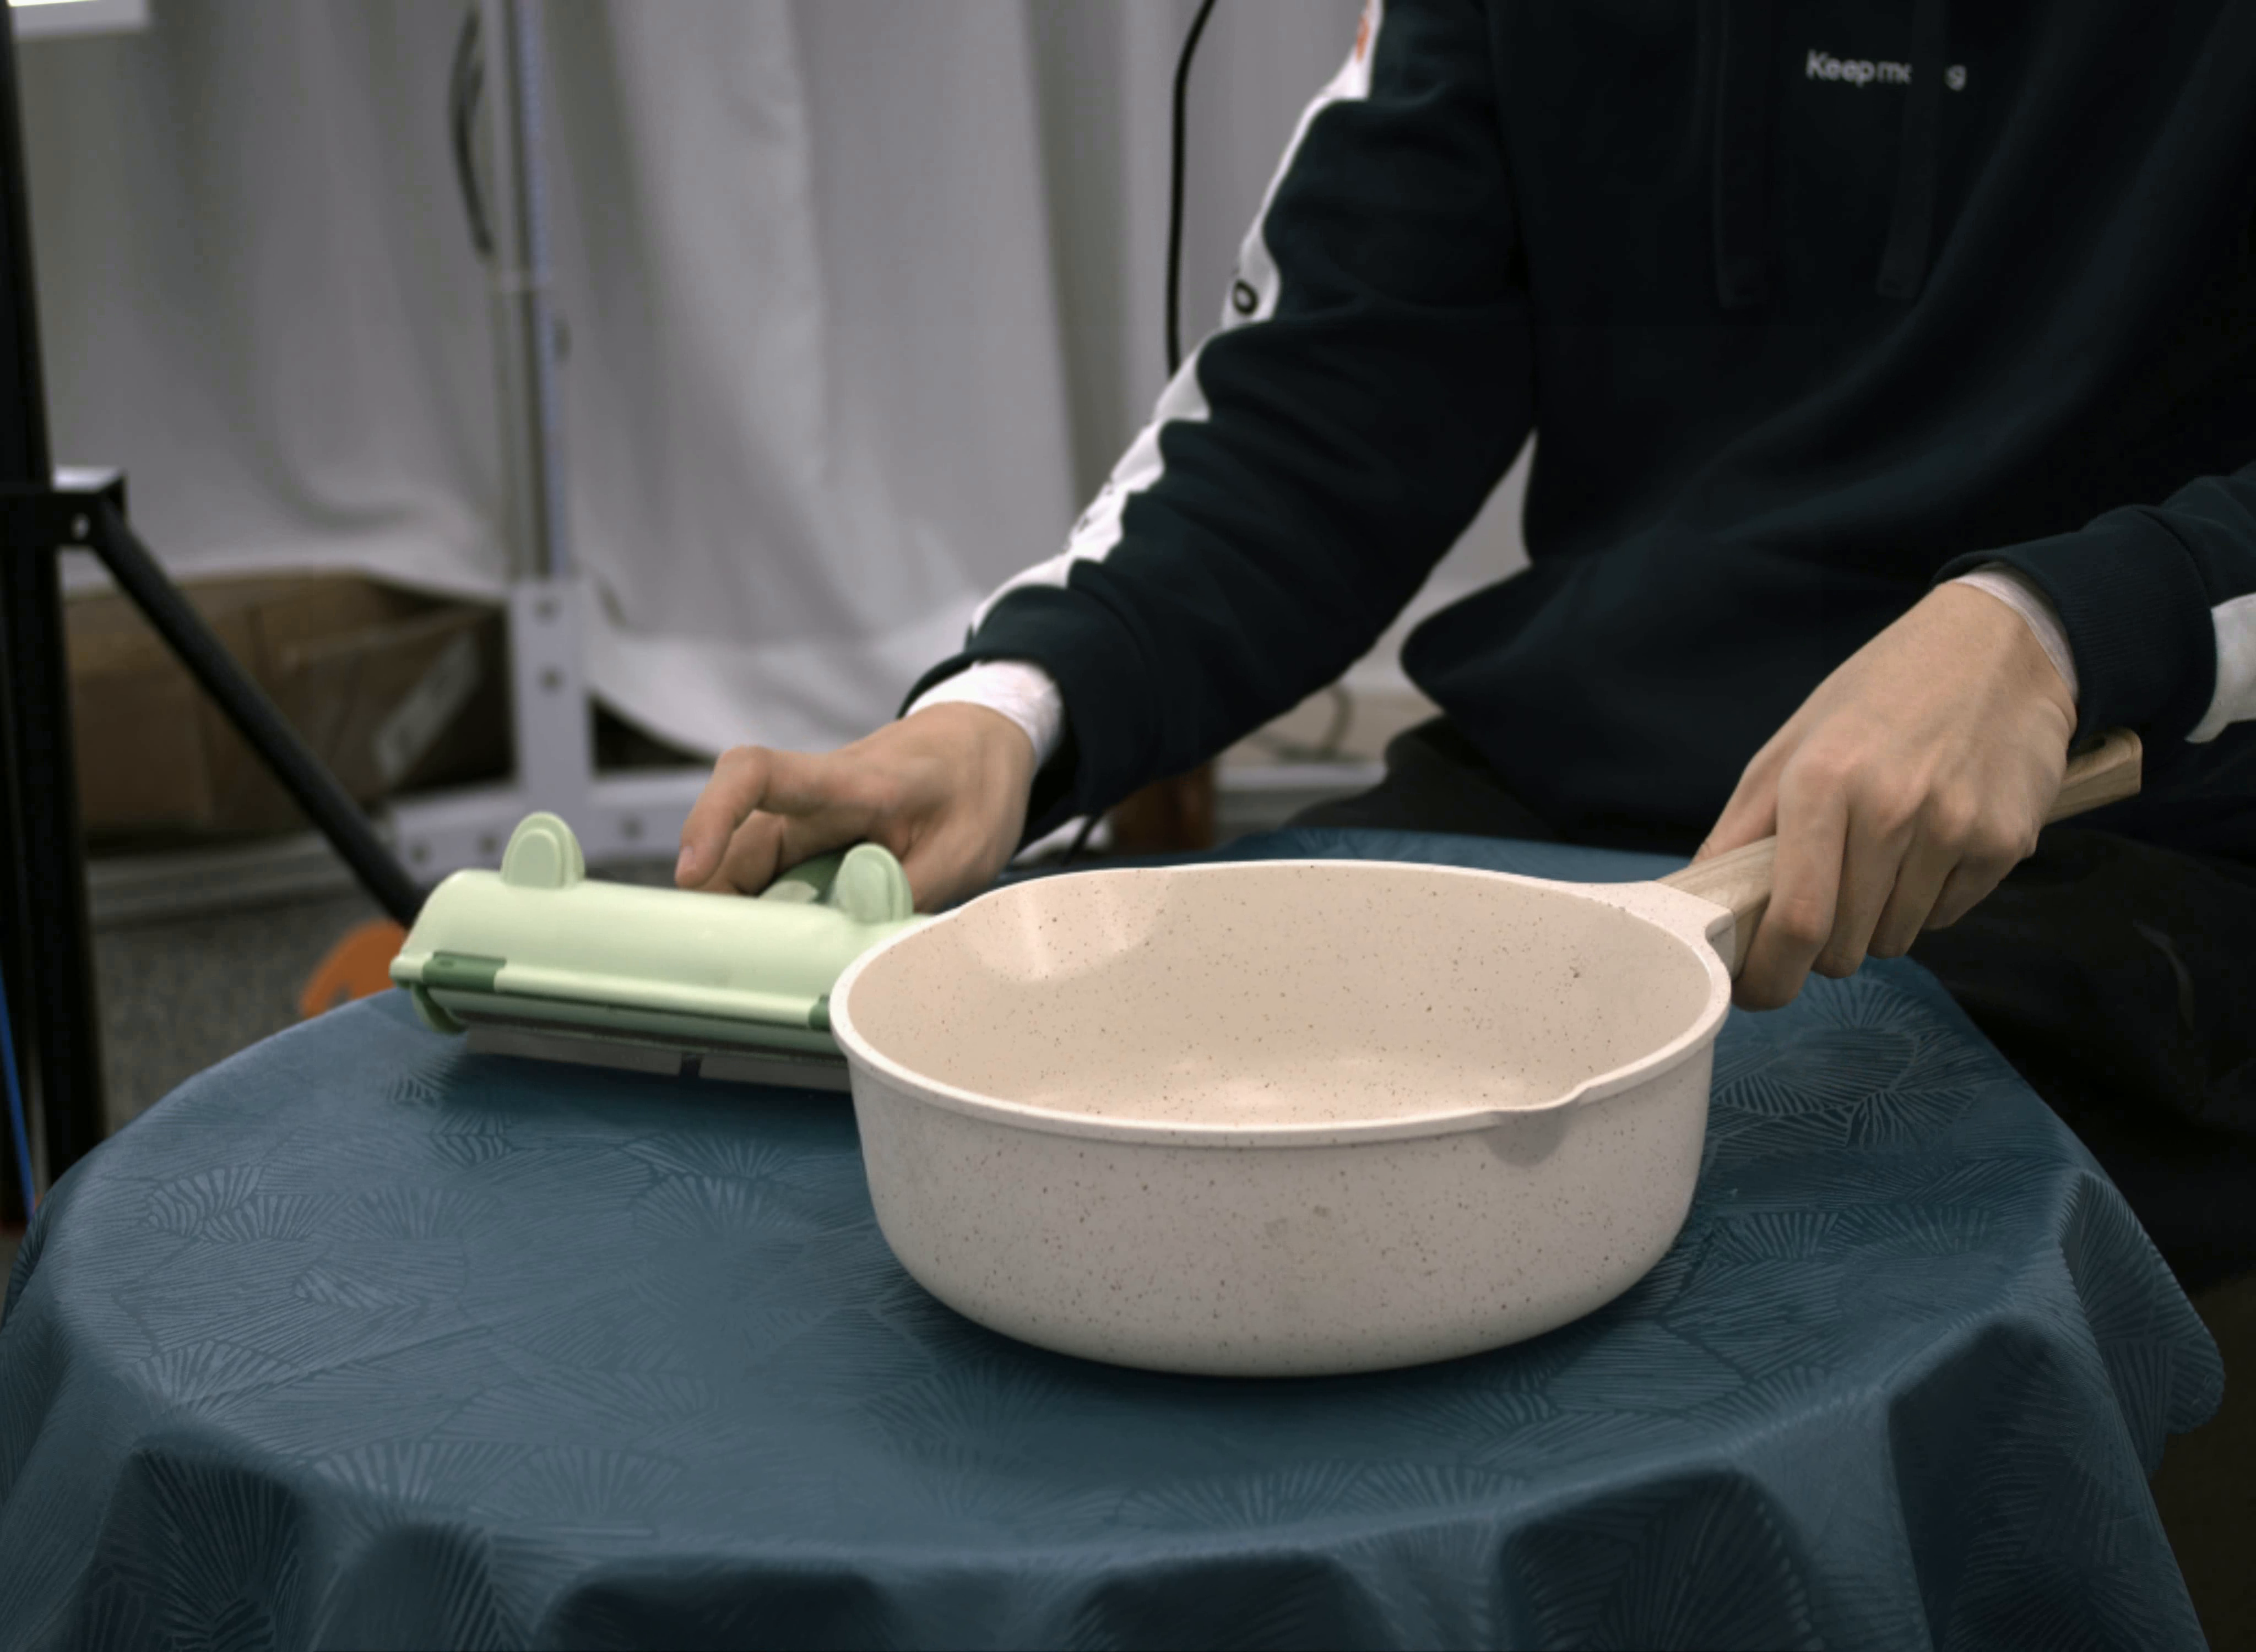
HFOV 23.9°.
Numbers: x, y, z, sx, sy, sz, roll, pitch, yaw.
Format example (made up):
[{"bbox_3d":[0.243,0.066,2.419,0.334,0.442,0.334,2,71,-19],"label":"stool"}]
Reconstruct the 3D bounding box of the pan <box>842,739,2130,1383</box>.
[{"bbox_3d":[0.124,0.061,1.520,0.425,0.102,0.269,-11,17,-29],"label":"pan"}]

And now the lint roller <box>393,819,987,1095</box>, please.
[{"bbox_3d":[-0.112,0.020,1.719,0.201,0.082,0.181,5,27,25],"label":"lint roller"}]
